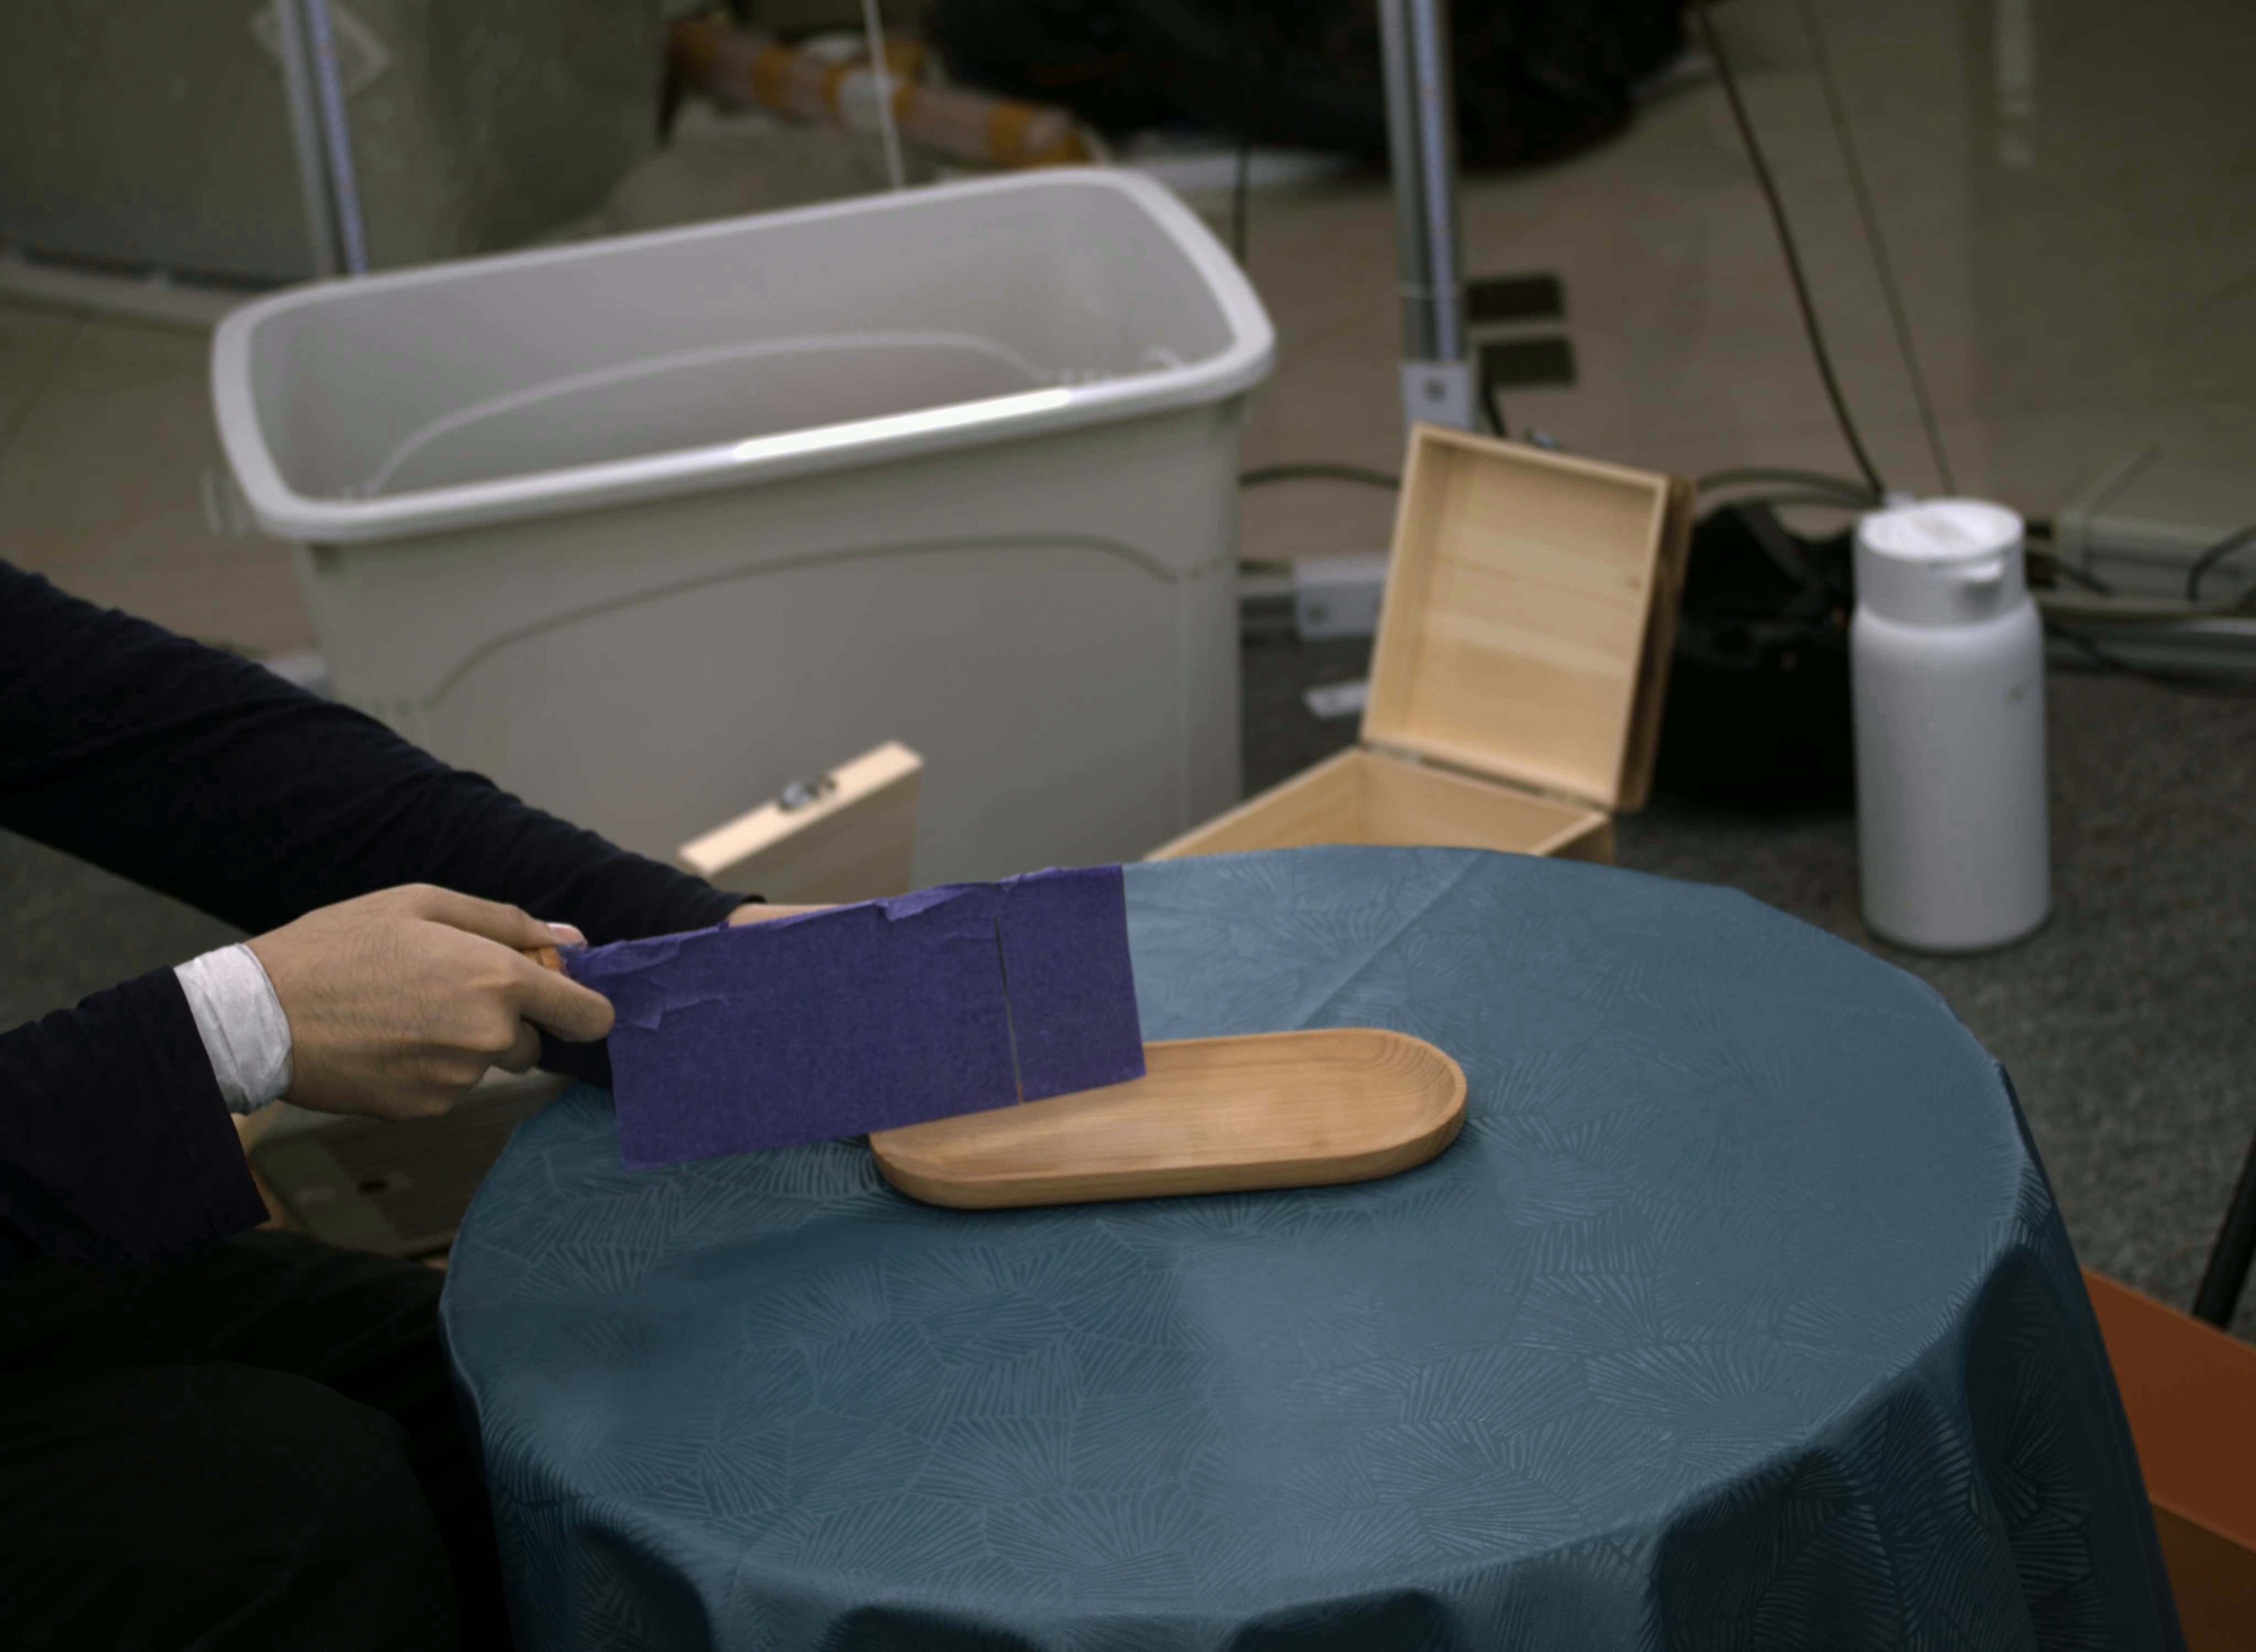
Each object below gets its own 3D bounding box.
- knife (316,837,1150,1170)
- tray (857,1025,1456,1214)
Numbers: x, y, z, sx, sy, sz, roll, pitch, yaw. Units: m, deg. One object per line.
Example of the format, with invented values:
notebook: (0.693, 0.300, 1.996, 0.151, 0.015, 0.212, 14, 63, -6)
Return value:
knife: (-0.144, 0.079, 2.134, 0.314, 0.105, 0.032, -10, 17, -12)
tray: (0.011, 0.114, 2.180, 0.231, 0.020, 0.100, -6, 26, 3)
